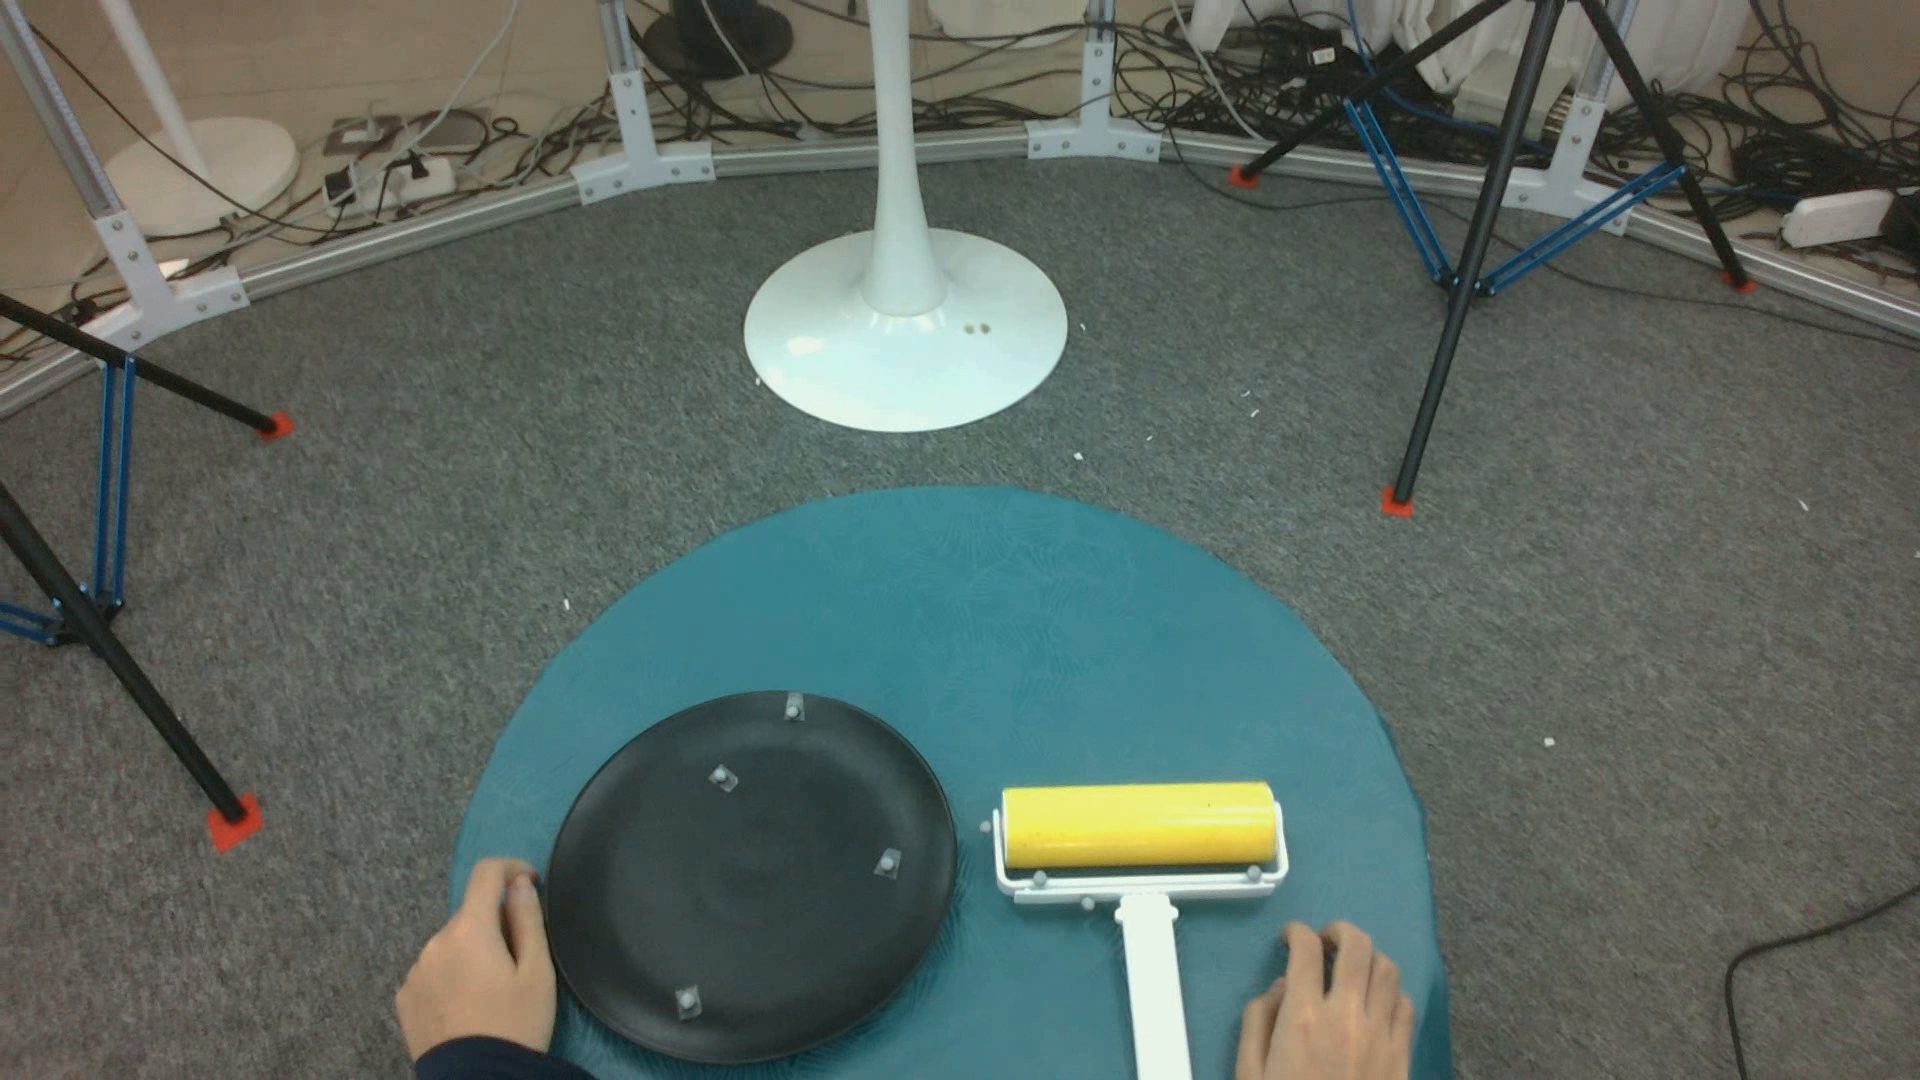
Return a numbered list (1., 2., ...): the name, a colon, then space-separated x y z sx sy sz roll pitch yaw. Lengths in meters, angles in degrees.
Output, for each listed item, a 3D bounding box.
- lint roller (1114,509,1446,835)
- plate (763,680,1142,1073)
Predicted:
1. lint roller: 0.206 0.090 0.794 0.174 0.051 0.192 -37 47 -2
2. plate: -0.006 0.197 0.833 0.244 0.023 0.245 -12 52 17
